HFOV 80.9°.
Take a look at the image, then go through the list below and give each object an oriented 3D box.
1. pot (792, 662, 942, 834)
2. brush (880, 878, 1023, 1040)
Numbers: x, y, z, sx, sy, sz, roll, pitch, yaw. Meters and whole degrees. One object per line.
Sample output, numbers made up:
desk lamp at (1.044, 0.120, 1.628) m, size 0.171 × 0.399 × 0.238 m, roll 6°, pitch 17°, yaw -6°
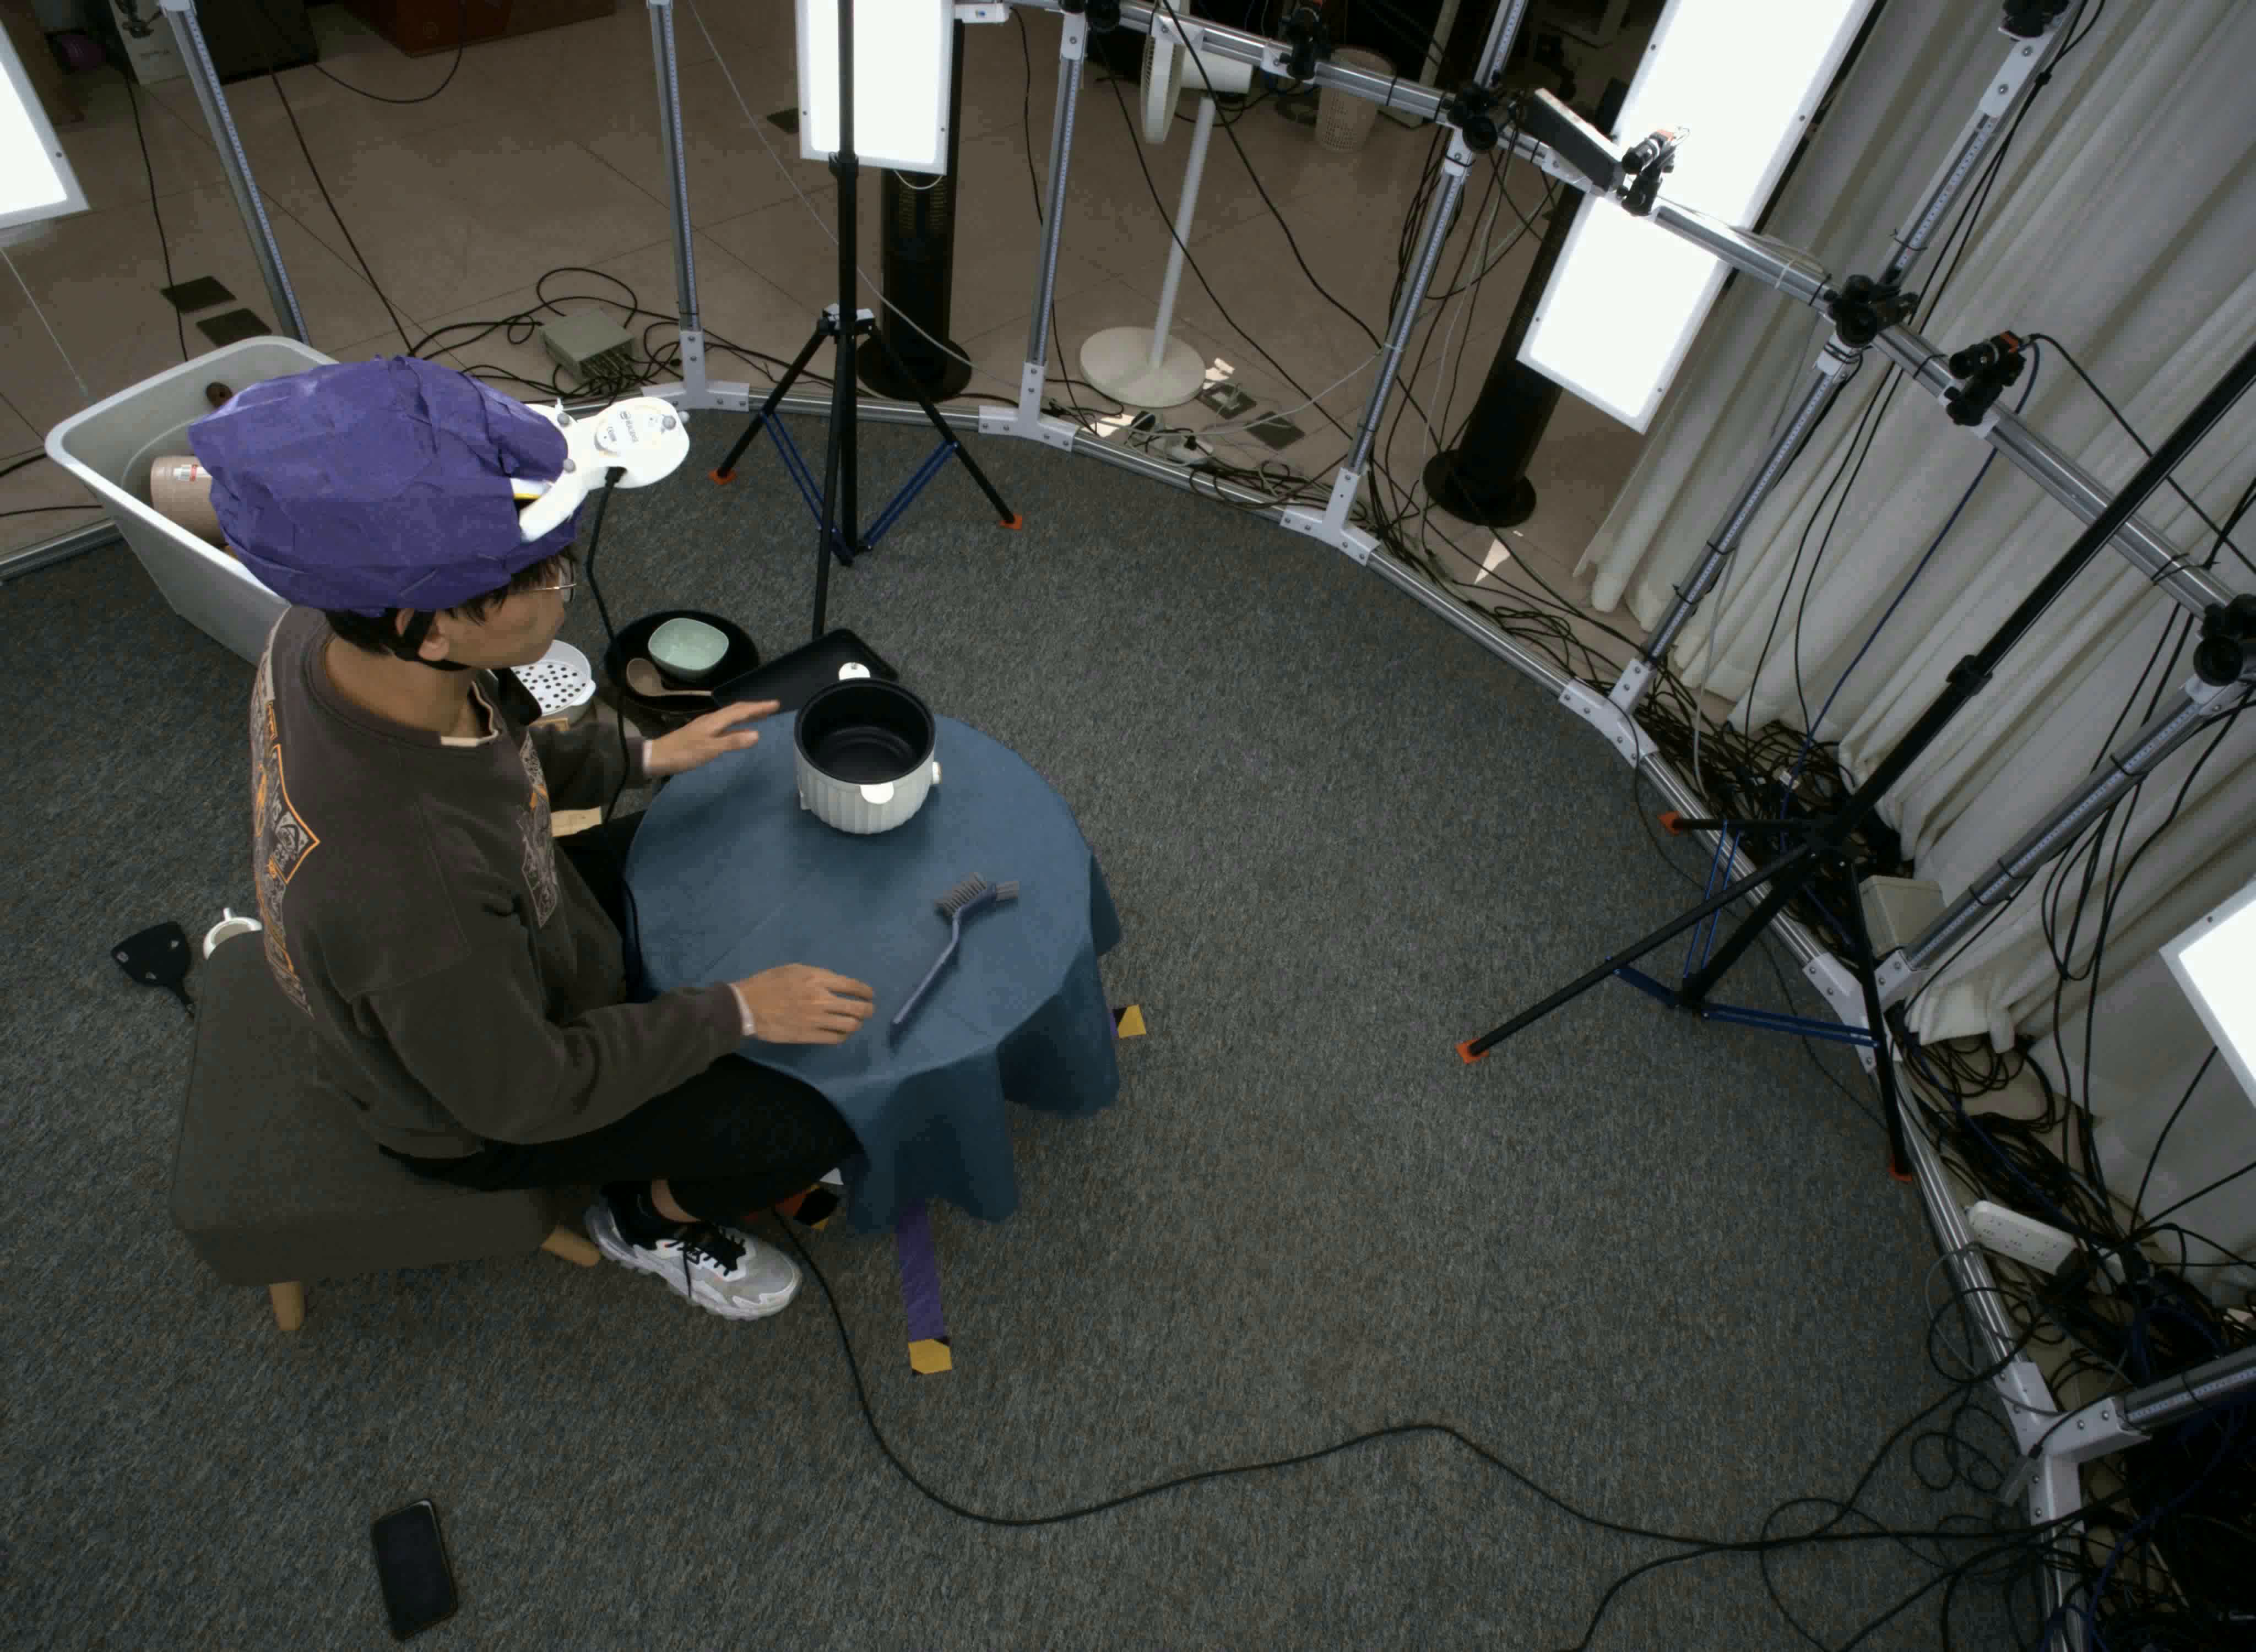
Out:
pot at (-0.345, -0.089, 1.733) m, size 0.190 × 0.146 × 0.235 m, roll -10°, pitch 58°, yaw -15°
brush at (-0.225, 0.163, 1.644) m, size 0.094 × 0.034 × 0.271 m, roll 20°, pitch 50°, yaw 6°
